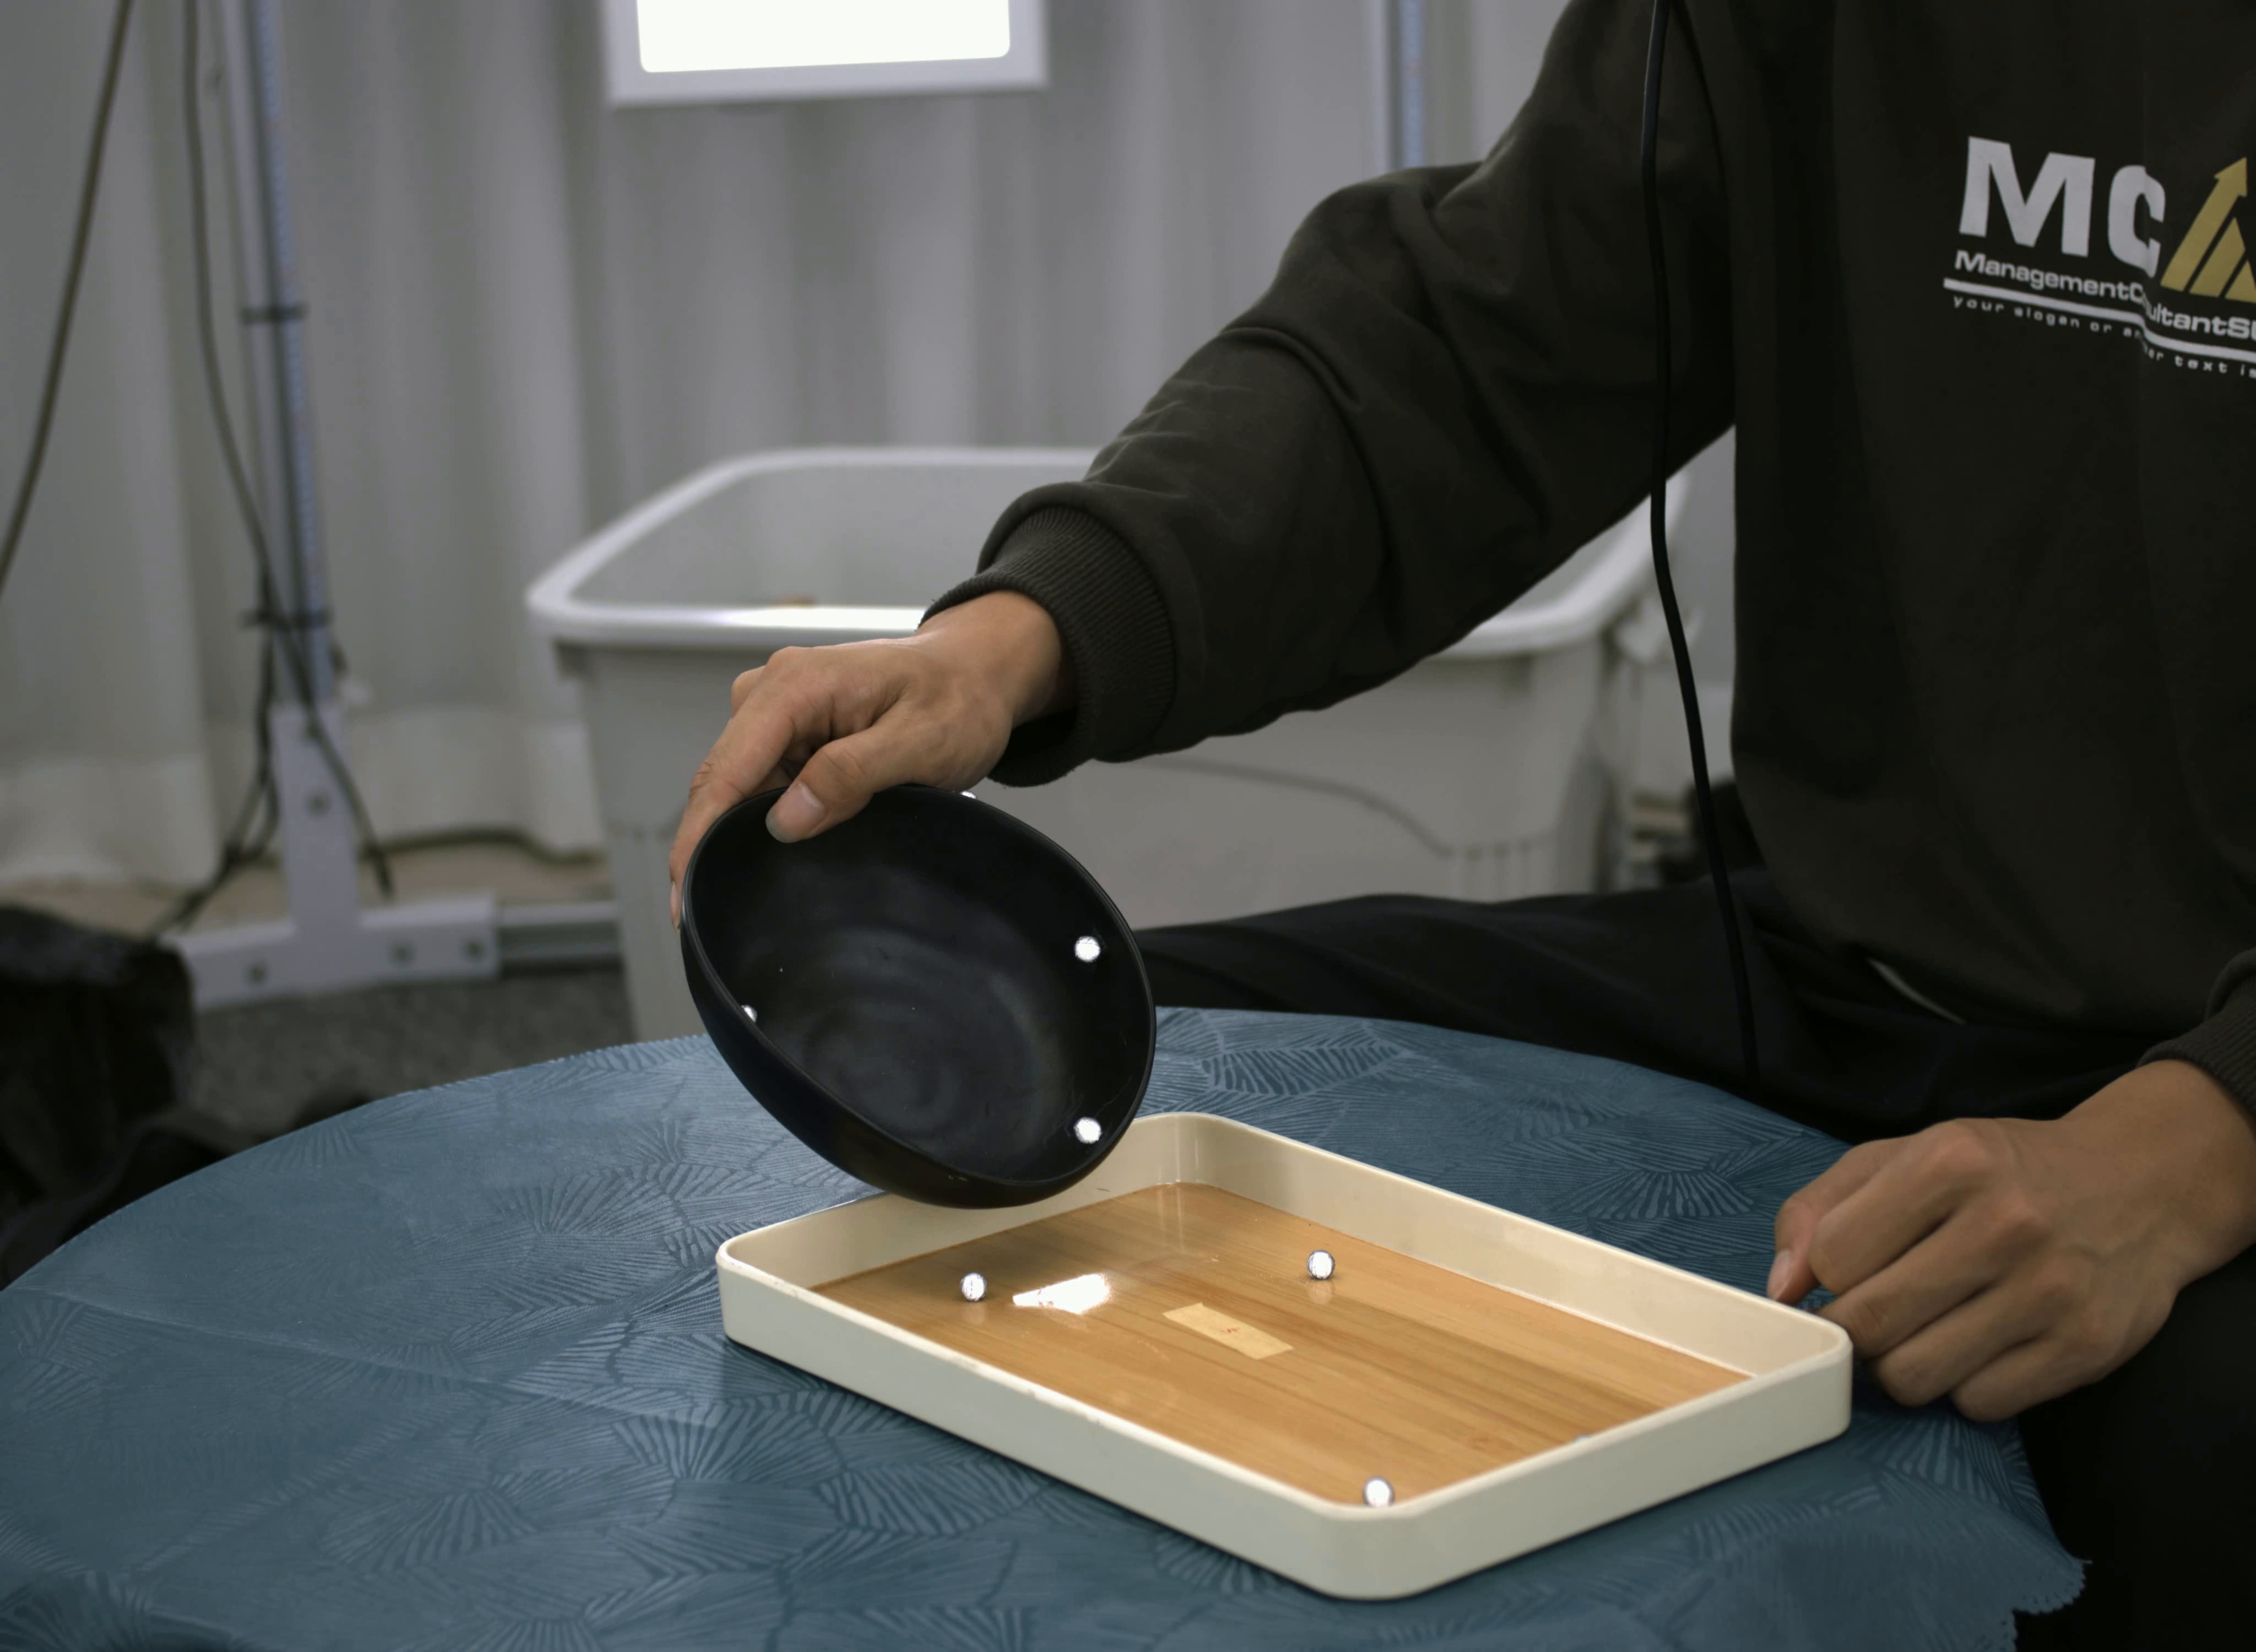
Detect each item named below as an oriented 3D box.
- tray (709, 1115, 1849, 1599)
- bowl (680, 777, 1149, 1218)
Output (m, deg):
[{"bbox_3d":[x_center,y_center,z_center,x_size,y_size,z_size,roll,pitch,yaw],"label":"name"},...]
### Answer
[{"bbox_3d":[0.037,0.144,1.550,0.191,0.027,0.302,-14,18,-37],"label":"tray"},{"bbox_3d":[-0.068,0.061,1.672,0.137,0.066,0.172,-18,53,-32],"label":"bowl"}]
